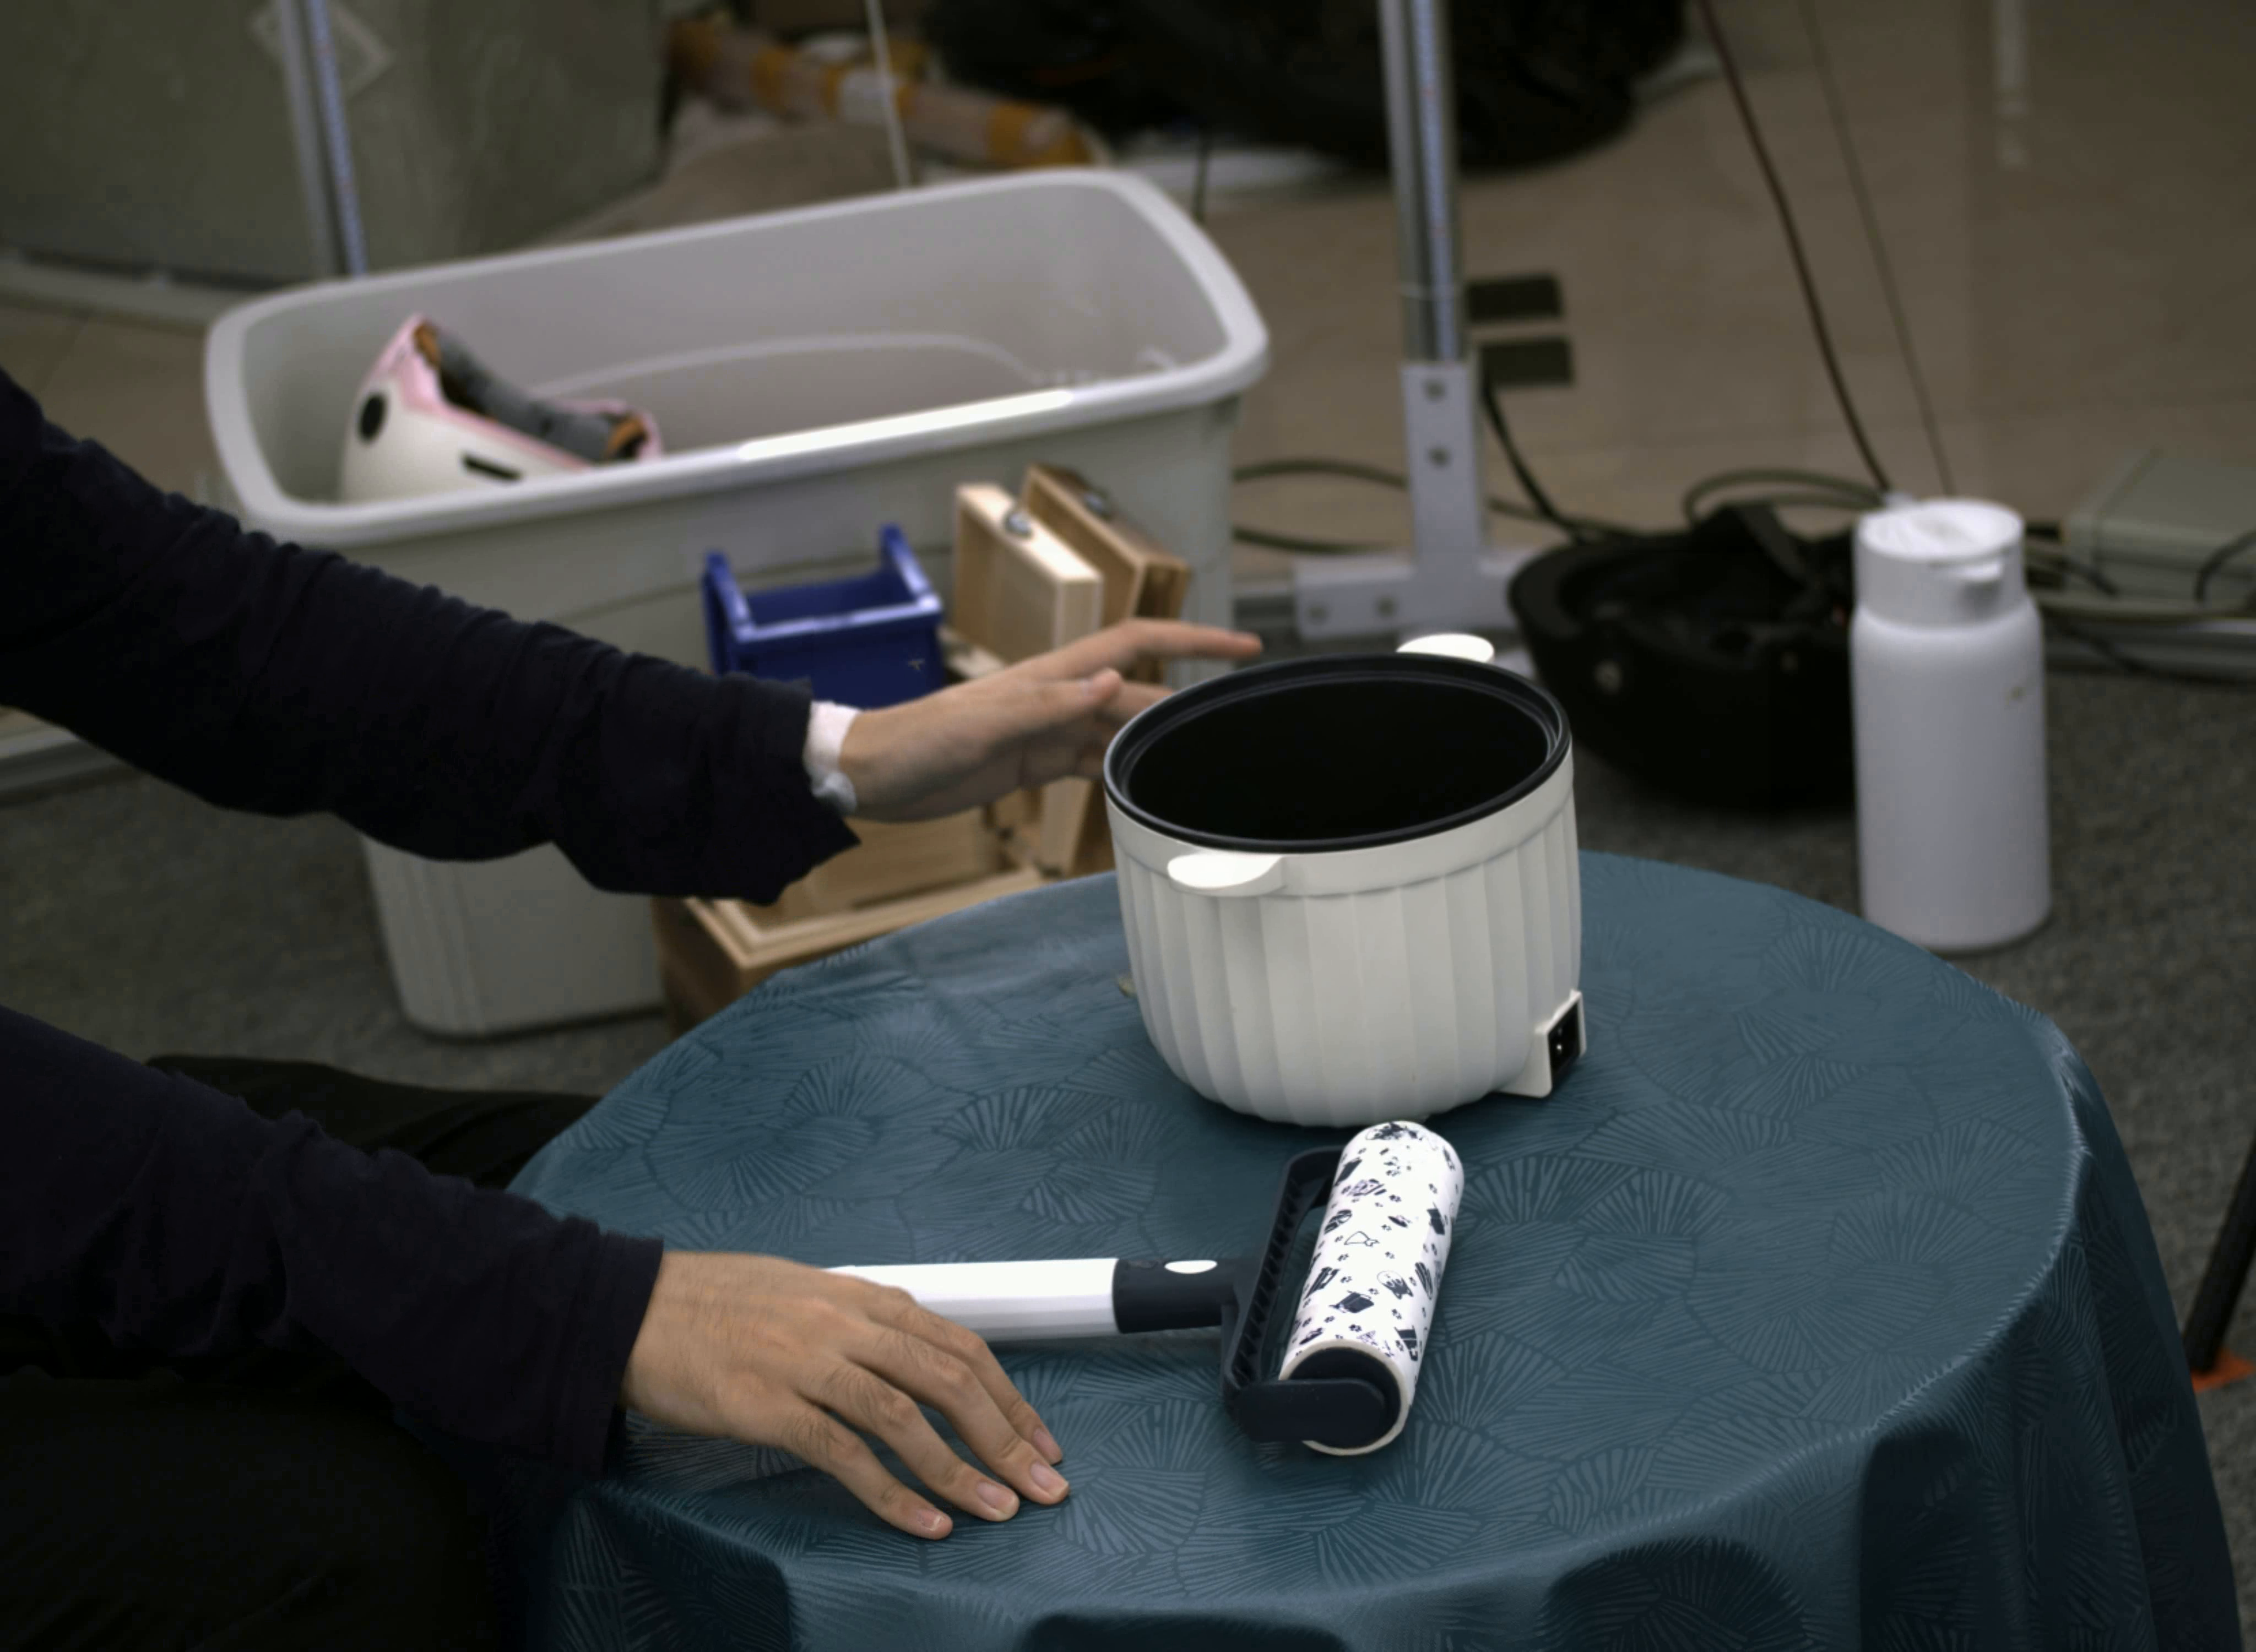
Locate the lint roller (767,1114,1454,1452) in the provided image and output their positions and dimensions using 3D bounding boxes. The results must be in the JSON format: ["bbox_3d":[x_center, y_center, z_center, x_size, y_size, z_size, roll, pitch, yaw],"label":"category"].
[{"bbox_3d":[-0.013,0.170,2.040,0.247,0.051,0.173,-5,26,12],"label":"lint roller"}]

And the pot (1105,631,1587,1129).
[{"bbox_3d":[0.082,0.029,2.202,0.189,0.145,0.237,10,29,25],"label":"pot"}]
